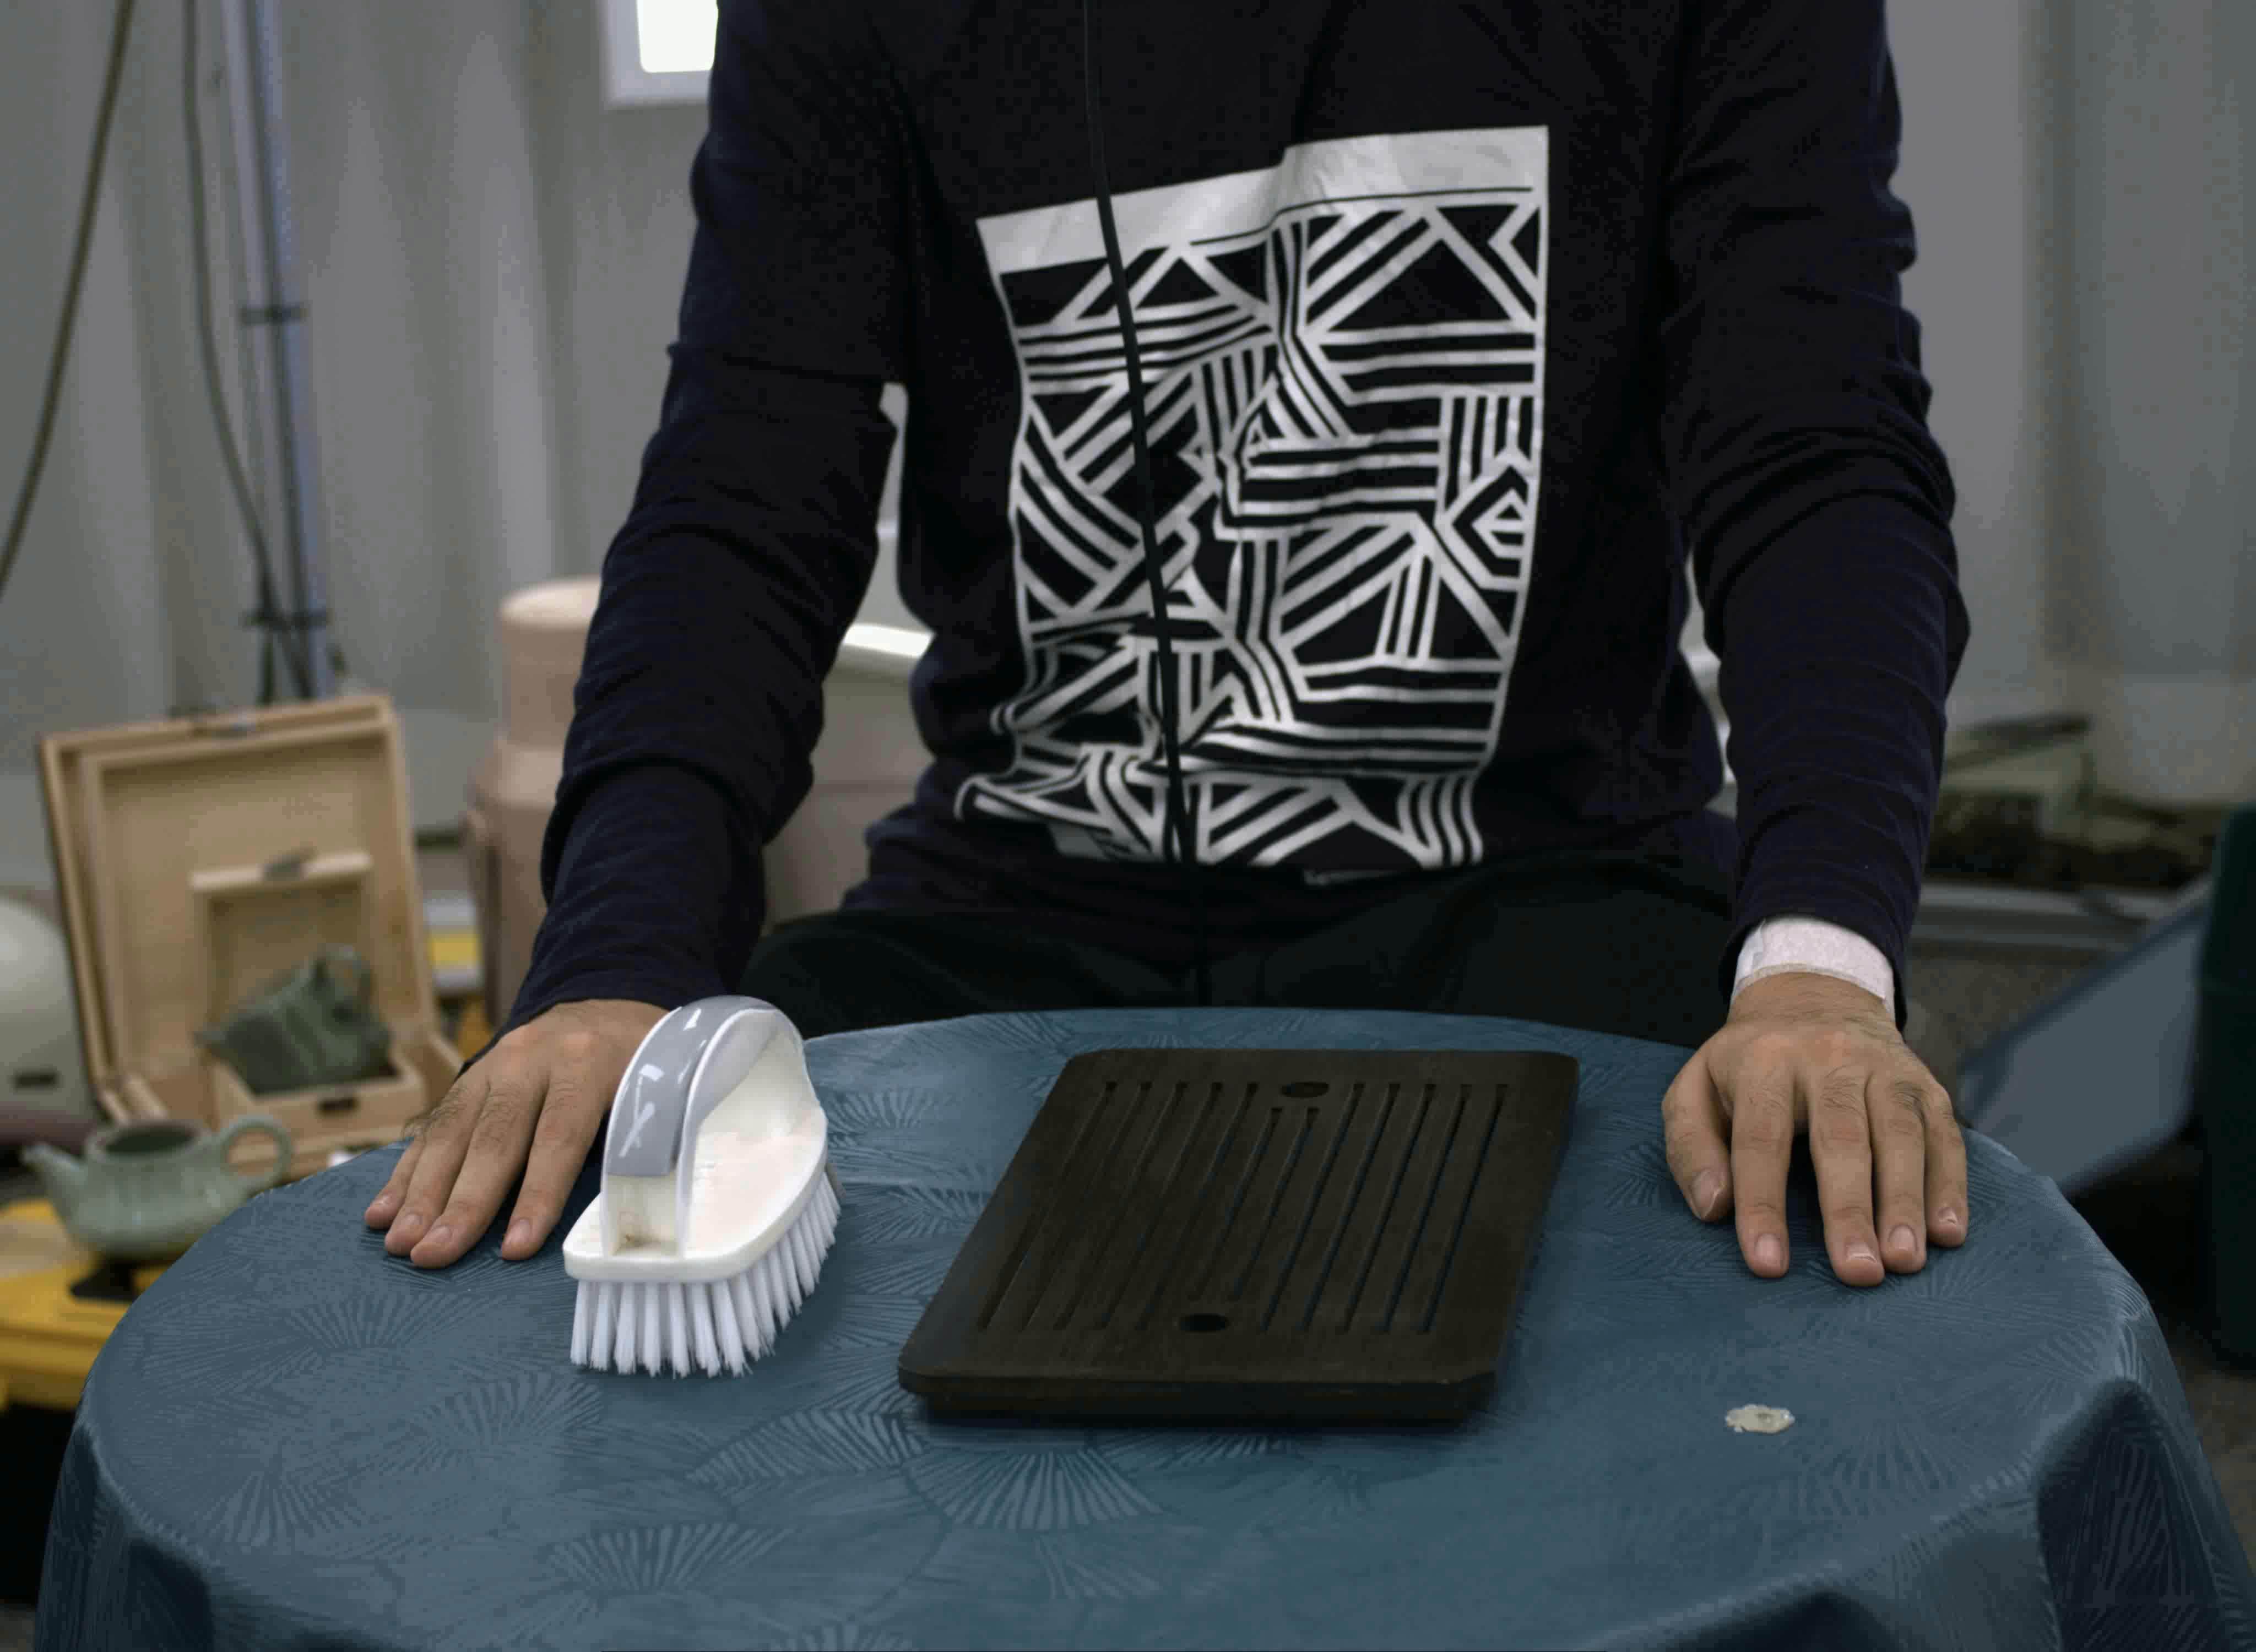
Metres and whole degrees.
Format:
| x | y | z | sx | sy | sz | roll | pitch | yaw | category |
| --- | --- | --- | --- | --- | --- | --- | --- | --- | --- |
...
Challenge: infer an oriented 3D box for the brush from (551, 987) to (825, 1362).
| x | y | z | sx | sy | sz | roll | pitch | yaw | category |
| --- | --- | --- | --- | --- | --- | --- | --- | --- | --- |
| -0.124 | 0.093 | 1.644 | 0.061 | 0.094 | 0.176 | 0 | 13 | 14 | brush |

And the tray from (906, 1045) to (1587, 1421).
| x | y | z | sx | sy | sz | roll | pitch | yaw | category |
| --- | --- | --- | --- | --- | --- | --- | --- | --- | --- |
| 0.044 | 0.120 | 1.651 | 0.170 | 0.018 | 0.307 | 0 | 15 | 10 | tray |
